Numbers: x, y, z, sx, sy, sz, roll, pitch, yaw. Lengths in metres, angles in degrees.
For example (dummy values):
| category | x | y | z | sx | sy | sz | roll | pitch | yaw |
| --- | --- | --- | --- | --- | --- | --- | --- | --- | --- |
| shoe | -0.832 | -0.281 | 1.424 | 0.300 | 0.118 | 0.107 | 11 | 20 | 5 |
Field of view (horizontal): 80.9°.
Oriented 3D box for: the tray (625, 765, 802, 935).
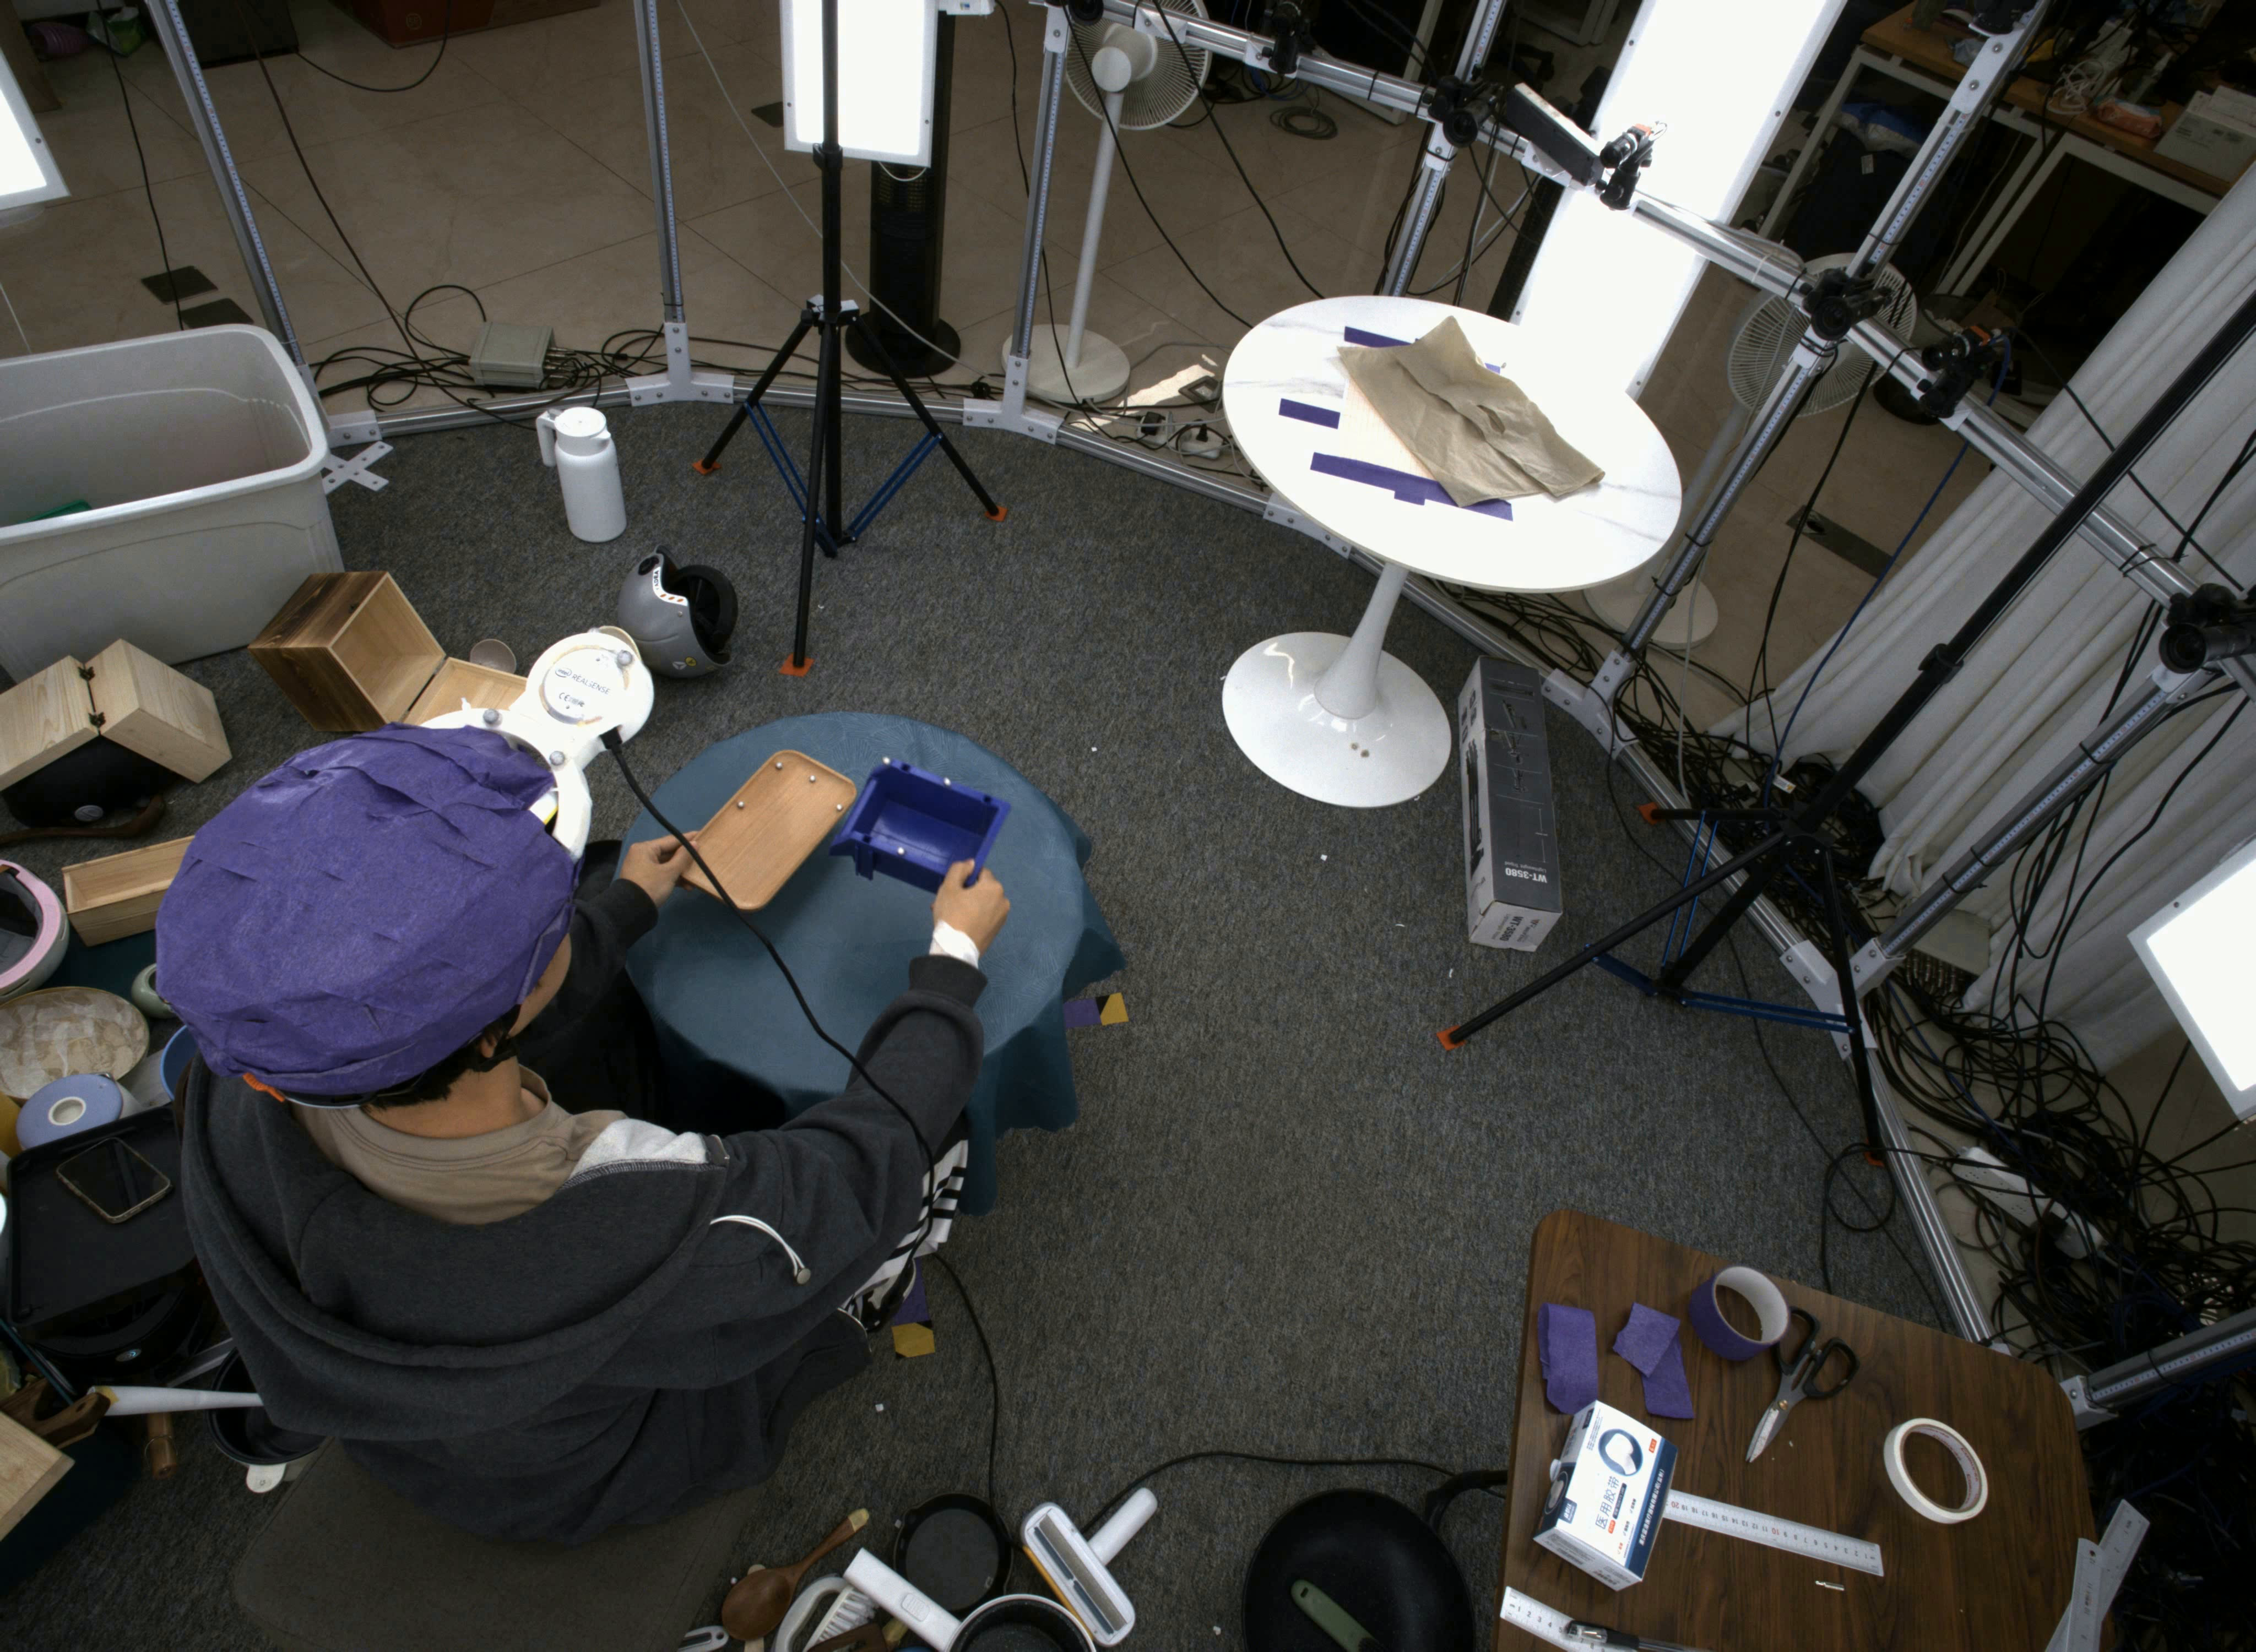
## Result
| category | x | y | z | sx | sy | sz | roll | pitch | yaw |
| --- | --- | --- | --- | --- | --- | --- | --- | --- | --- |
| tray | -0.508 | 0.025 | 1.597 | 0.129 | 0.023 | 0.249 | 25 | 49 | 3 |

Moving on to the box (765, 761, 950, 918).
| category | x | y | z | sx | sy | sz | roll | pitch | yaw |
| --- | --- | --- | --- | --- | --- | --- | --- | --- | --- |
| box | -0.314 | 0.014 | 1.504 | 0.179 | 0.083 | 0.123 | 21 | 59 | -4 |
